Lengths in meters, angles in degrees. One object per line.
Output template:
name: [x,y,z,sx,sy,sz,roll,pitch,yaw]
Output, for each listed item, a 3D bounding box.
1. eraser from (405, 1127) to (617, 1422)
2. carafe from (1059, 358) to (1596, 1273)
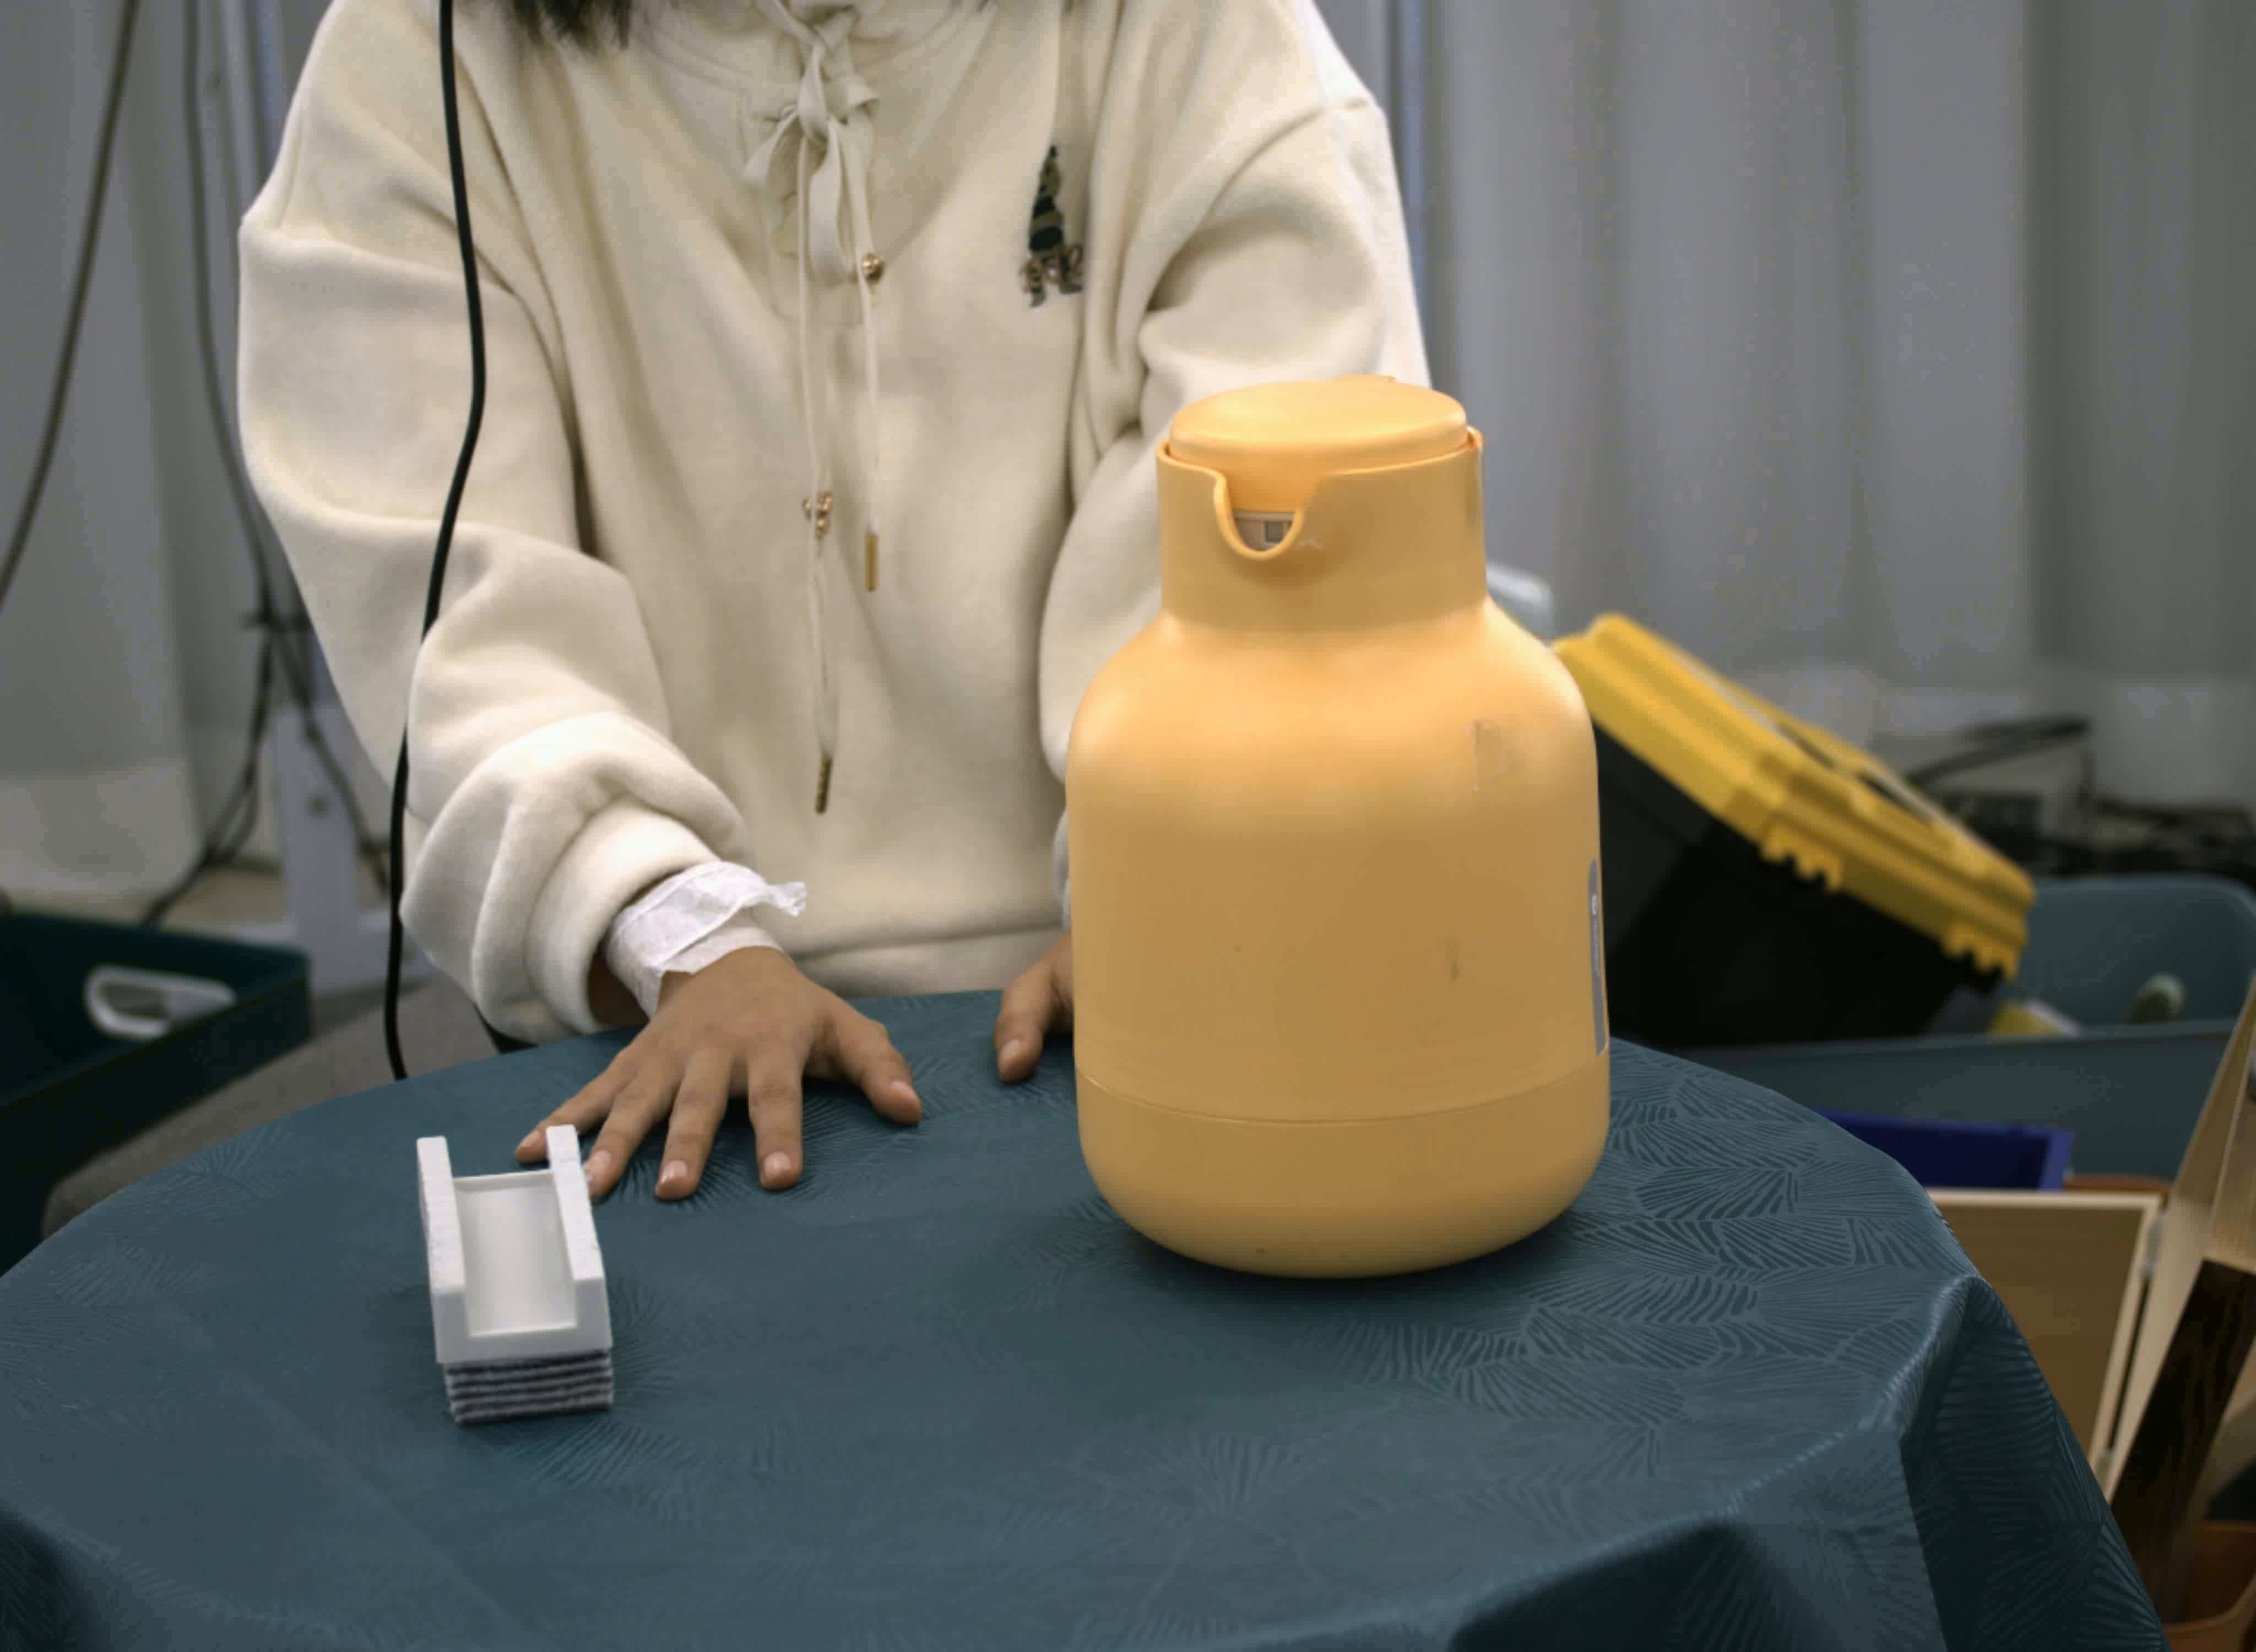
eraser: [-0.181,0.130,1.602,0.049,0.046,0.135,-9,16,-9]
carafe: [0.067,-0.011,1.663,0.163,0.259,0.203,5,17,17]
